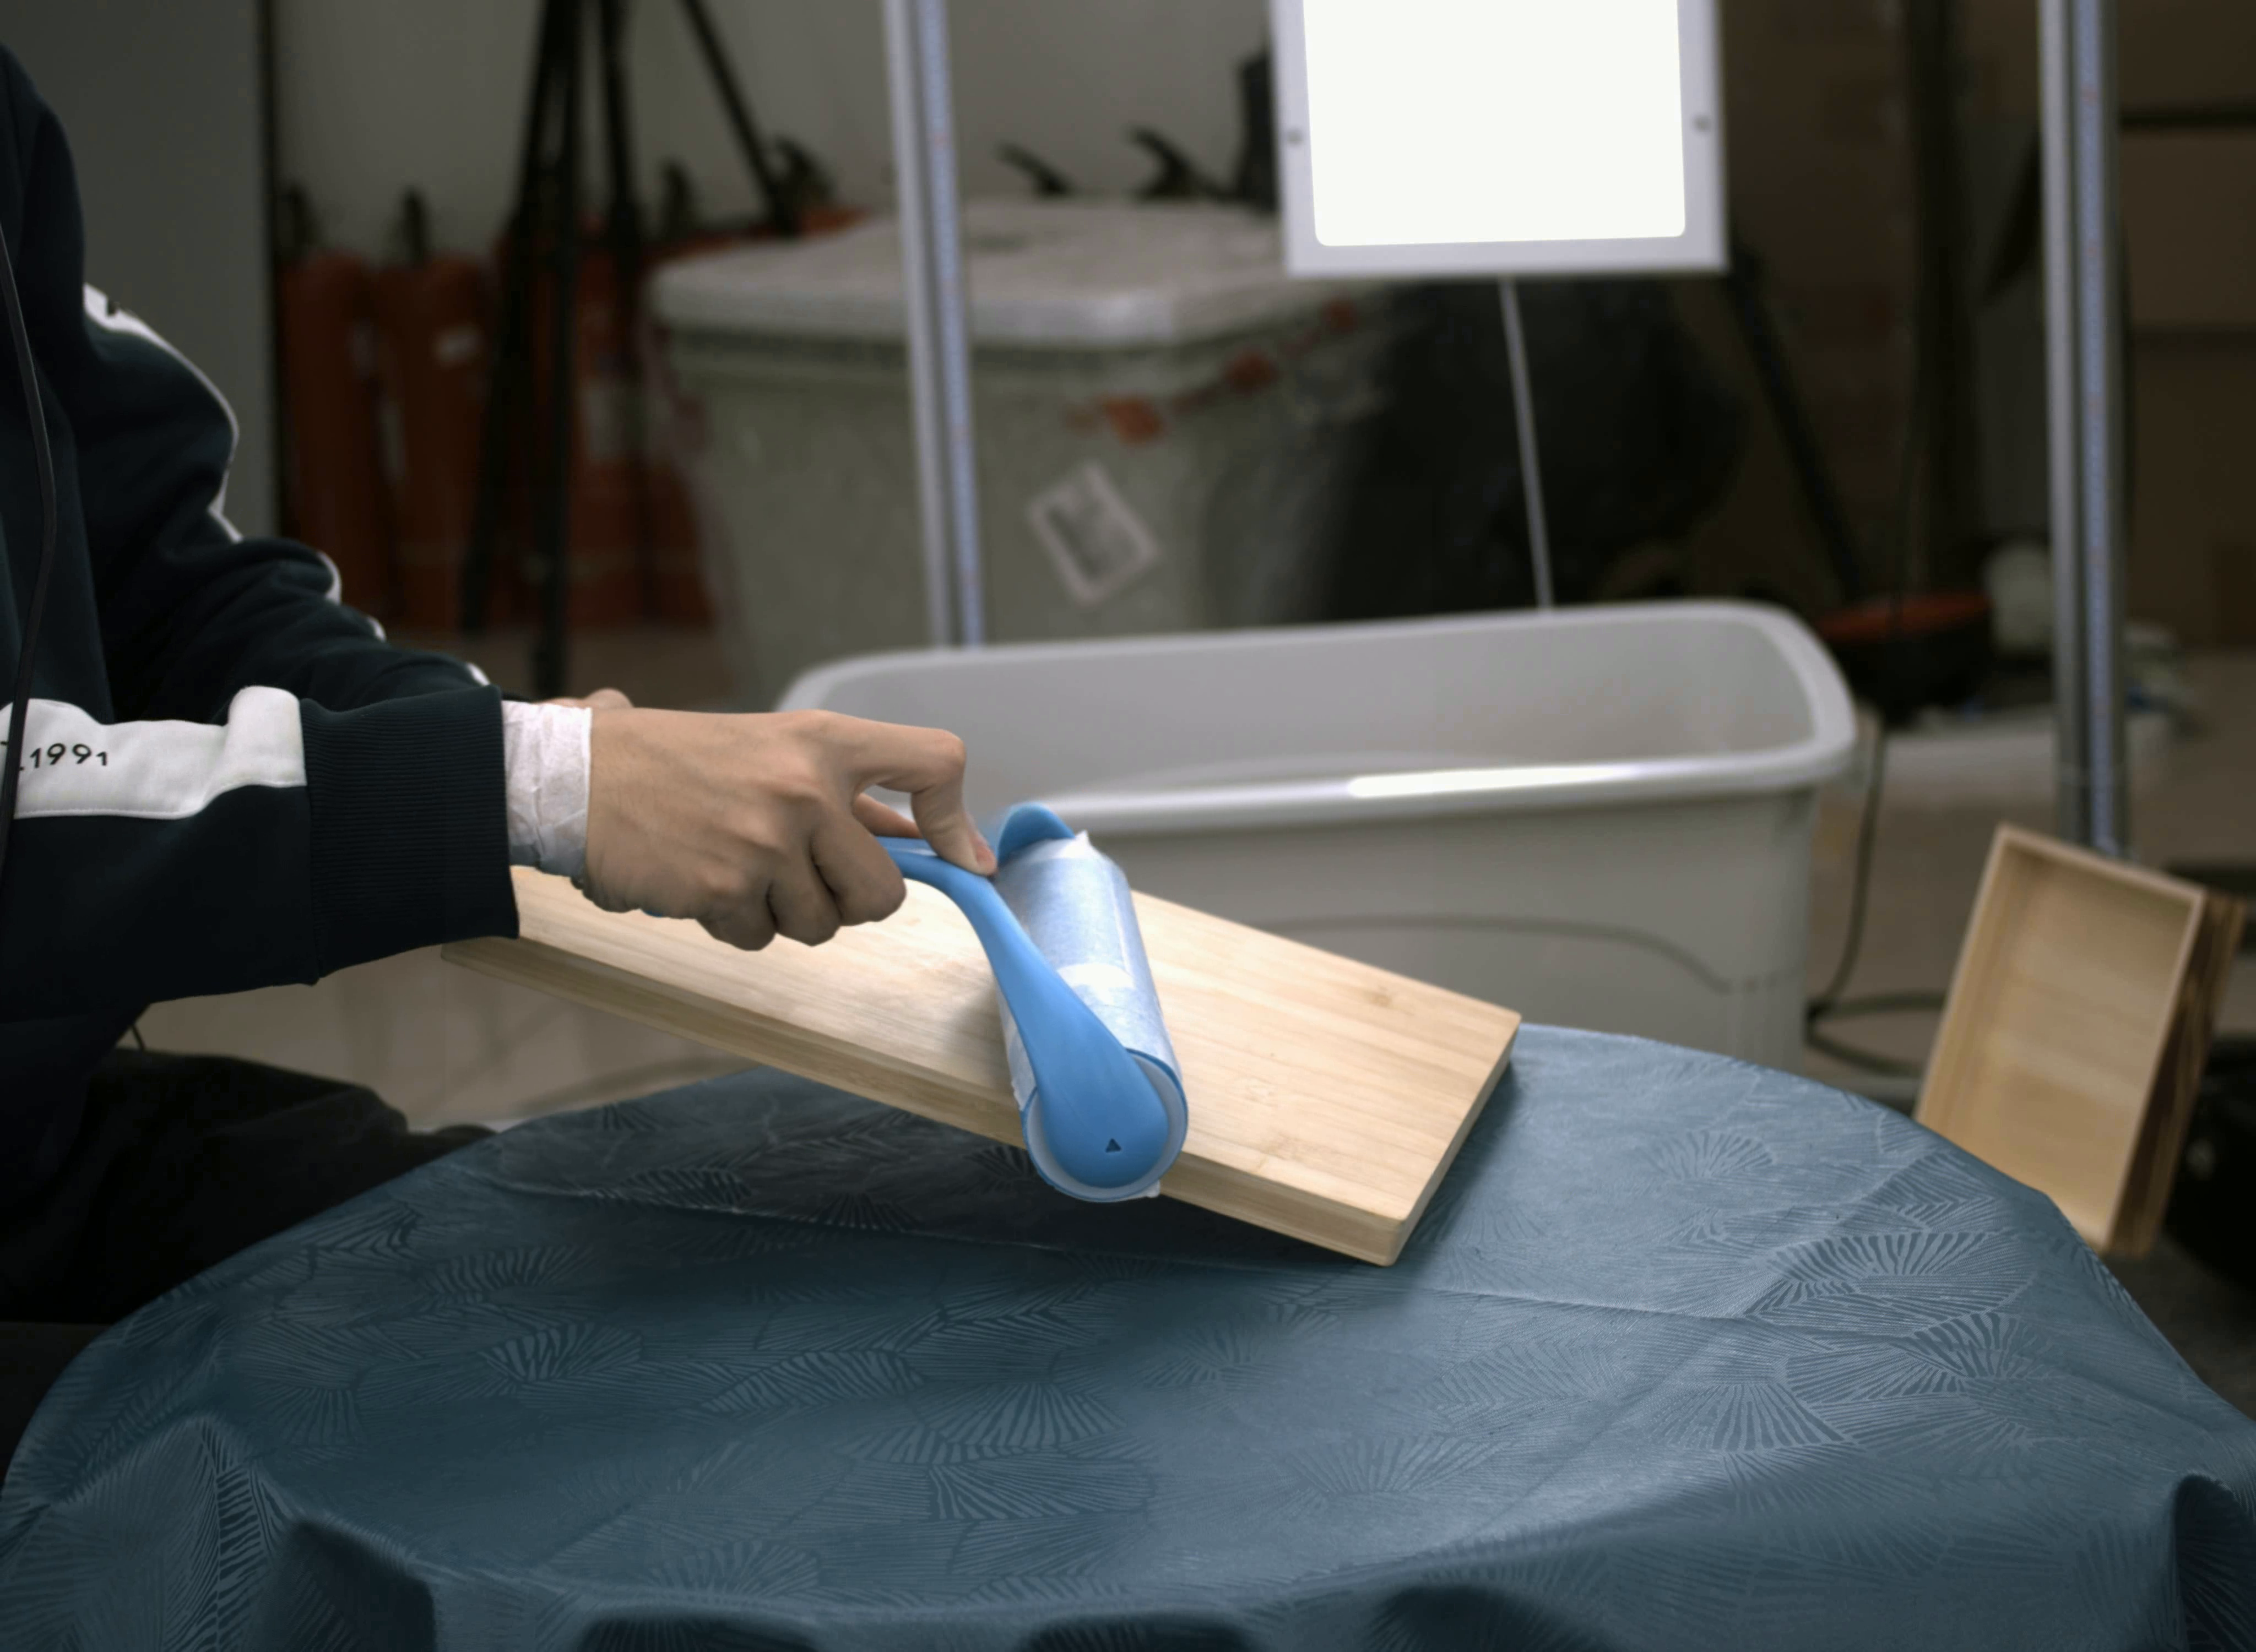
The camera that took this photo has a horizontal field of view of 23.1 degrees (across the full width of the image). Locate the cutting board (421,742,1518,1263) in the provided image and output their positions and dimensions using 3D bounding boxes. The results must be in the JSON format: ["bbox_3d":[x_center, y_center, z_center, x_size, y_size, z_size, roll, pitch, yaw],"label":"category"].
[{"bbox_3d":[-0.048,0.057,1.934,0.350,0.024,0.247,17,18,10],"label":"cutting board"}]

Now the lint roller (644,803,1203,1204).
[{"bbox_3d":[-0.065,0.039,1.811,0.178,0.068,0.229,23,17,-15],"label":"lint roller"}]
